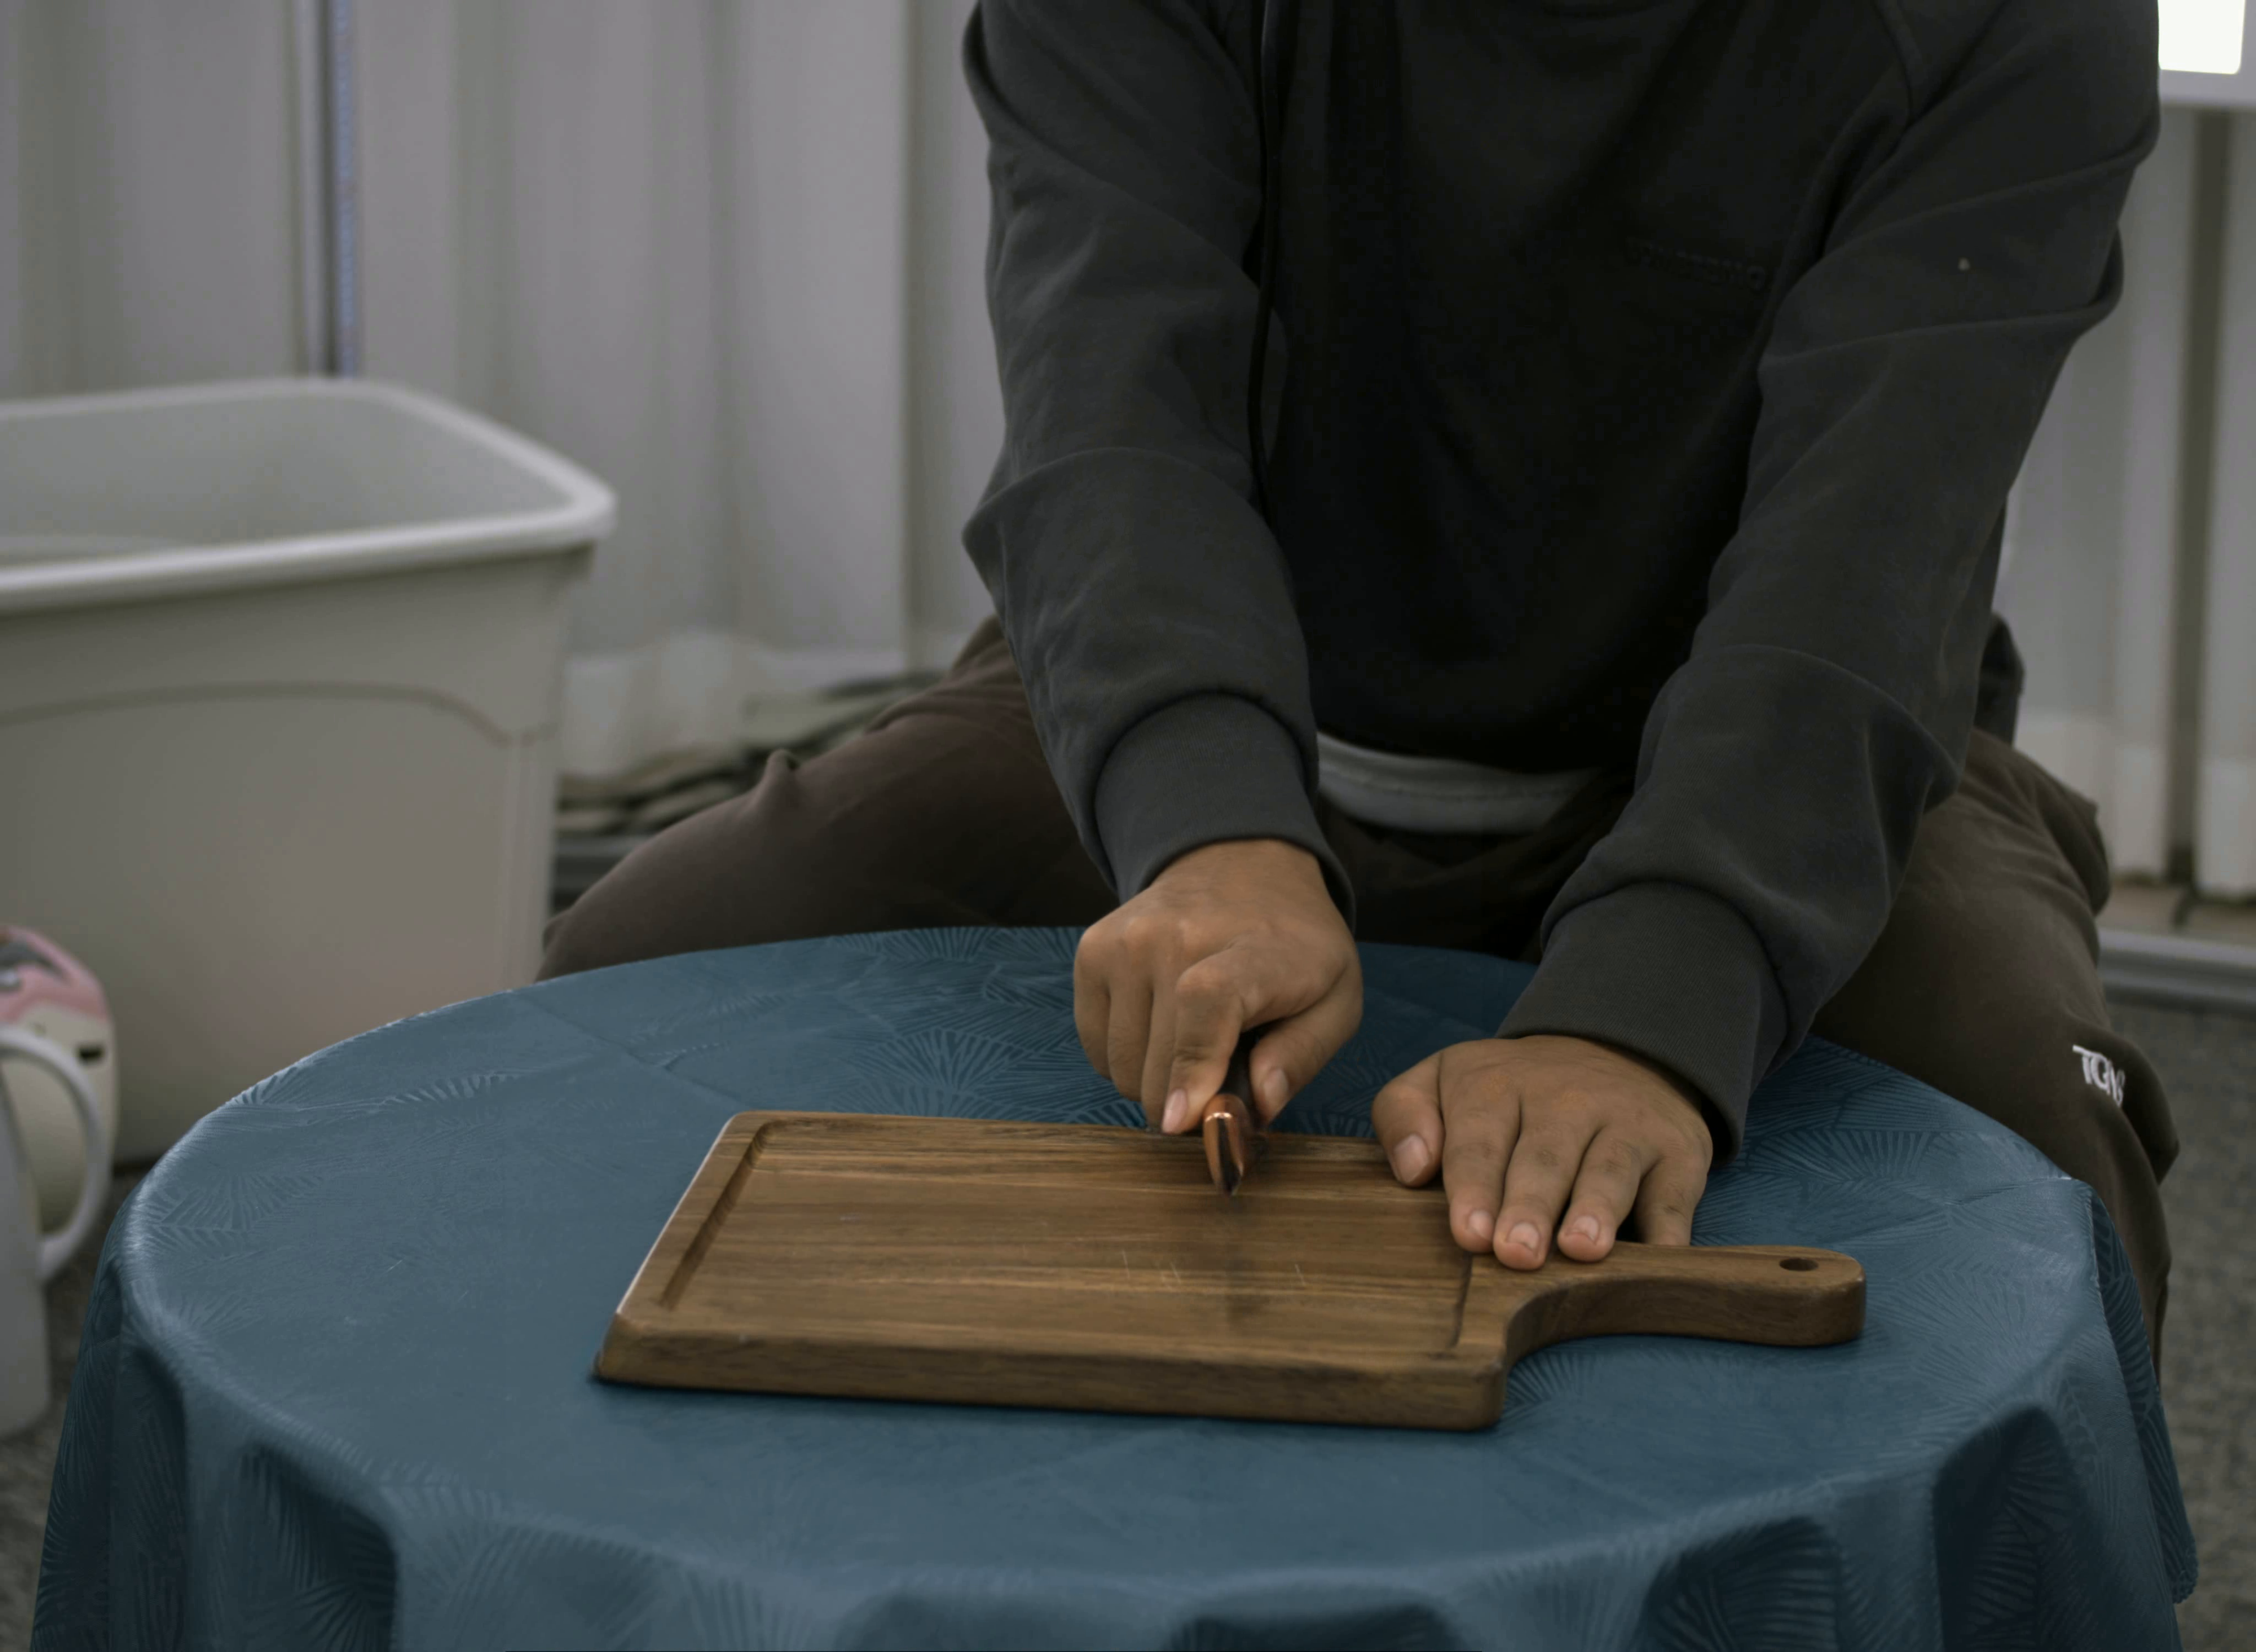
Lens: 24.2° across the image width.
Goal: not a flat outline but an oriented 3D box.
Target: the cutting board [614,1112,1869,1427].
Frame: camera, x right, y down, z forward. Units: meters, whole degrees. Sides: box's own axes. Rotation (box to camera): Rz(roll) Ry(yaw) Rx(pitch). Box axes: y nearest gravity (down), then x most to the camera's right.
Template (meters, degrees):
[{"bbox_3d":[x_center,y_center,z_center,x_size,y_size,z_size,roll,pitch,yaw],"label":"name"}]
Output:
[{"bbox_3d":[0.039,0.128,1.532,0.350,0.023,0.200,2,15,5],"label":"cutting board"}]

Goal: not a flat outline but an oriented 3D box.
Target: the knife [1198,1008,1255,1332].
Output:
[{"bbox_3d":[0.030,0.101,1.564,0.017,0.026,0.224,-6,19,3],"label":"knife"}]
